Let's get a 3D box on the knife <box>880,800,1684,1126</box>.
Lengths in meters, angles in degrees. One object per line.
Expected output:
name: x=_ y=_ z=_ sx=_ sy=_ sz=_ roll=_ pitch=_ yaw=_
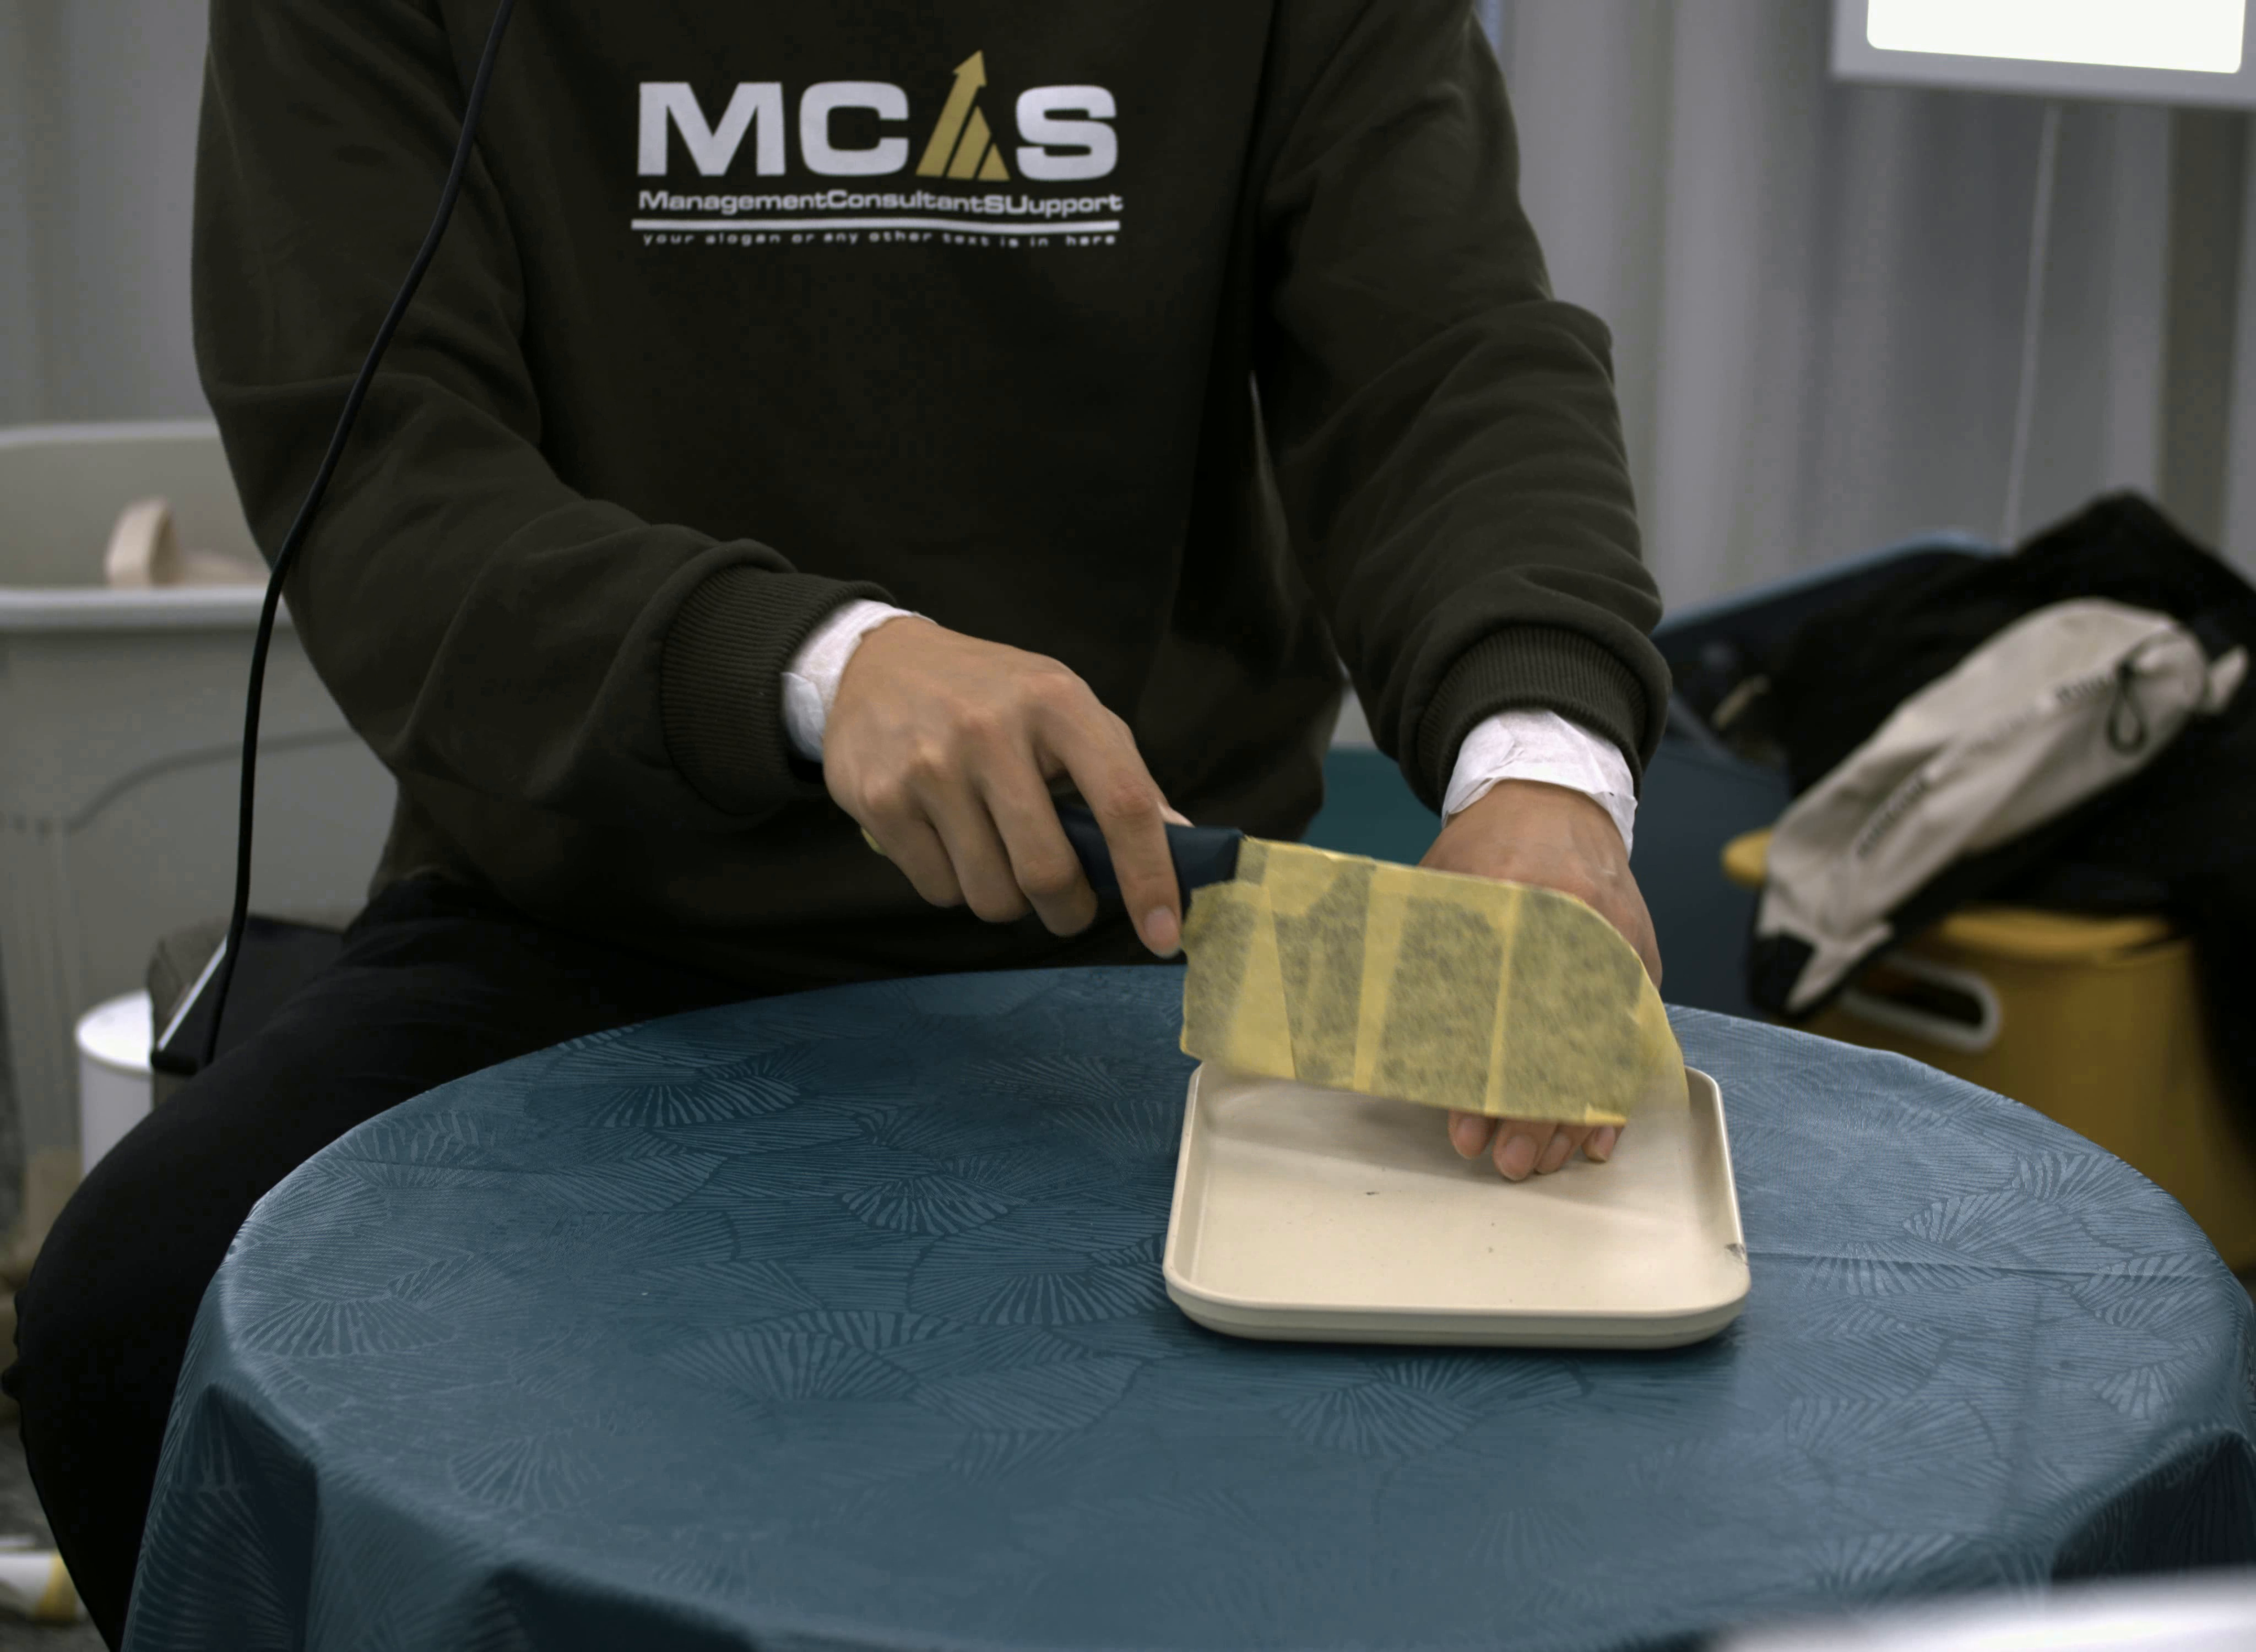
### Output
knife: x=0.044 y=0.041 z=1.649 sx=0.286 sy=0.081 sz=0.027 roll=14 pitch=9 yaw=27

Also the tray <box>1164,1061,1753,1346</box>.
tray: x=0.098 y=0.112 z=1.597 sx=0.170 sy=0.017 sz=0.238 roll=1 pitch=15 yaw=2
